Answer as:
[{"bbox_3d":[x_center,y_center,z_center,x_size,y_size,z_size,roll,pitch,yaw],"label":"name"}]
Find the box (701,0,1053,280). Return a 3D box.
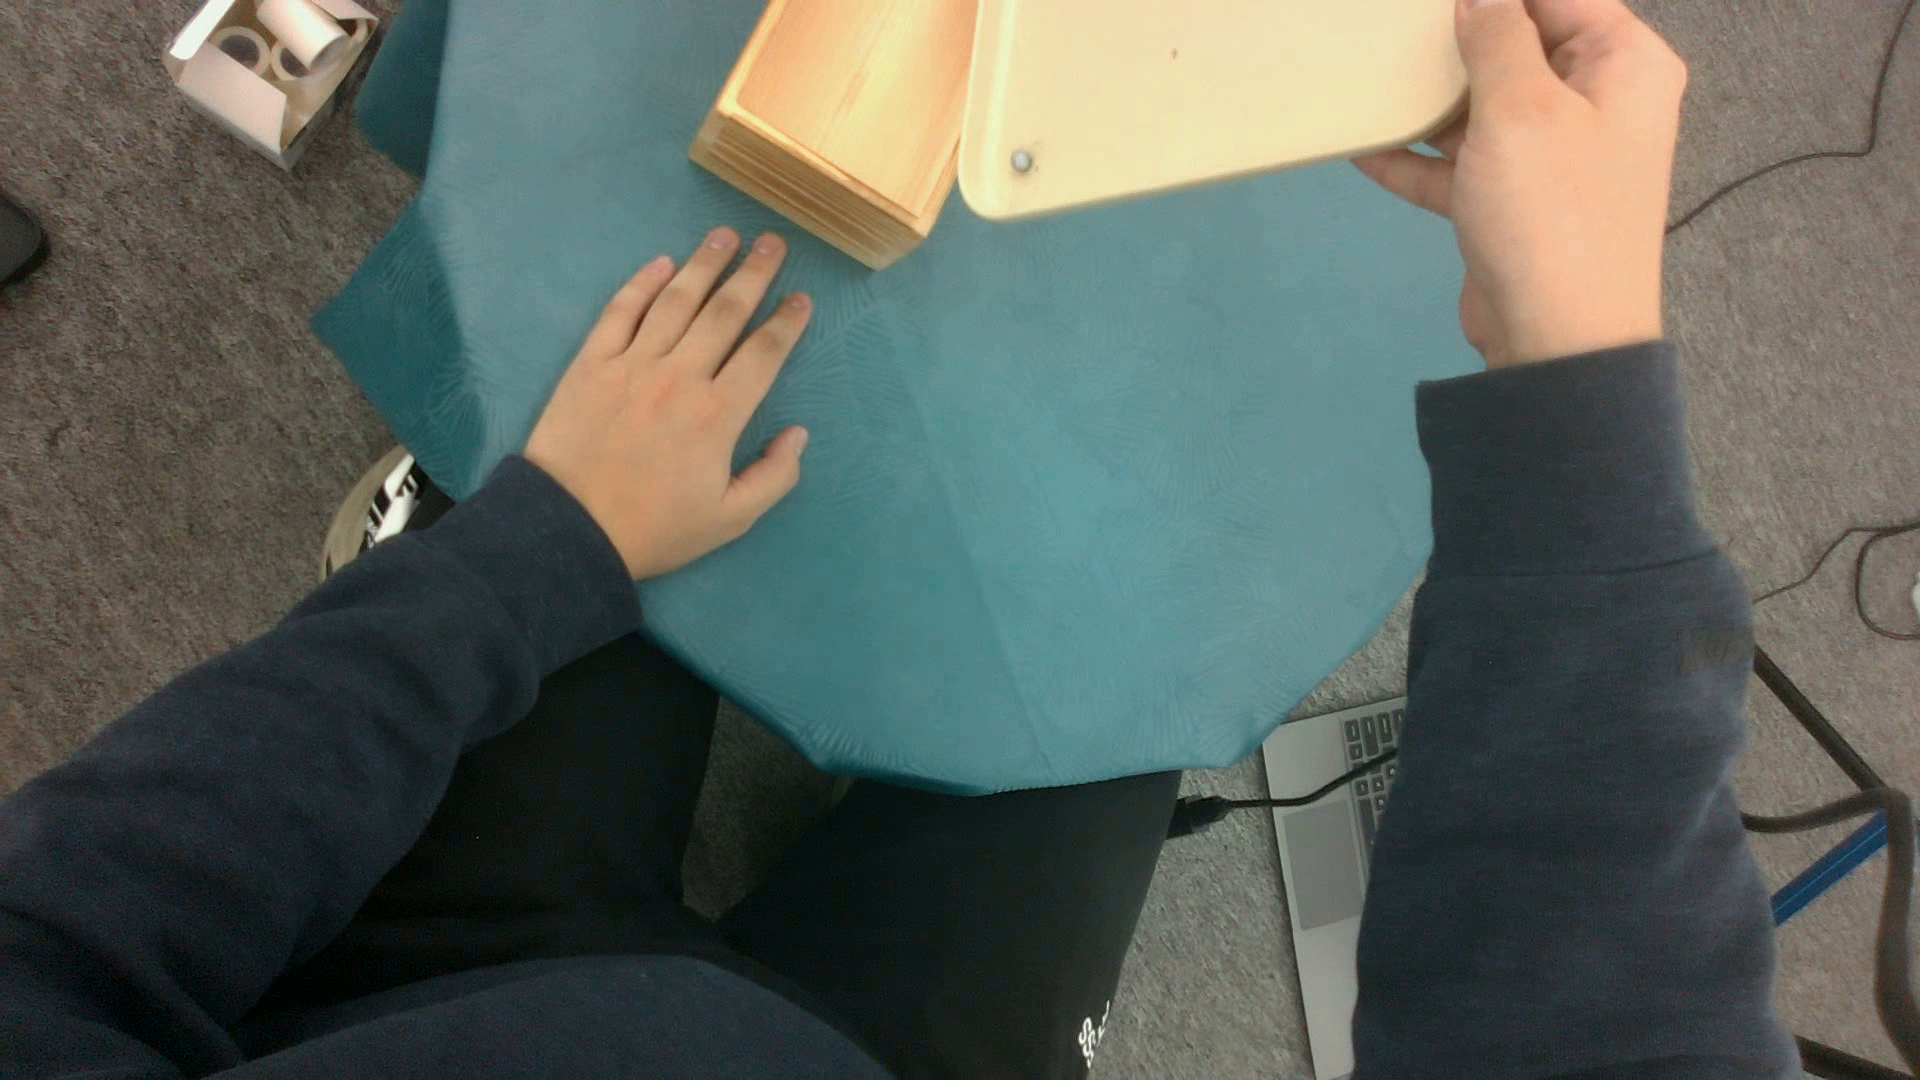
[{"bbox_3d":[-0.026,-0.248,0.668,0.107,0.080,0.212,28,80,-16],"label":"box"}]

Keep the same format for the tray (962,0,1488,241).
[{"bbox_3d":[0.095,-0.210,0.538,0.017,0.239,0.171,11,84,-44],"label":"tray"}]
